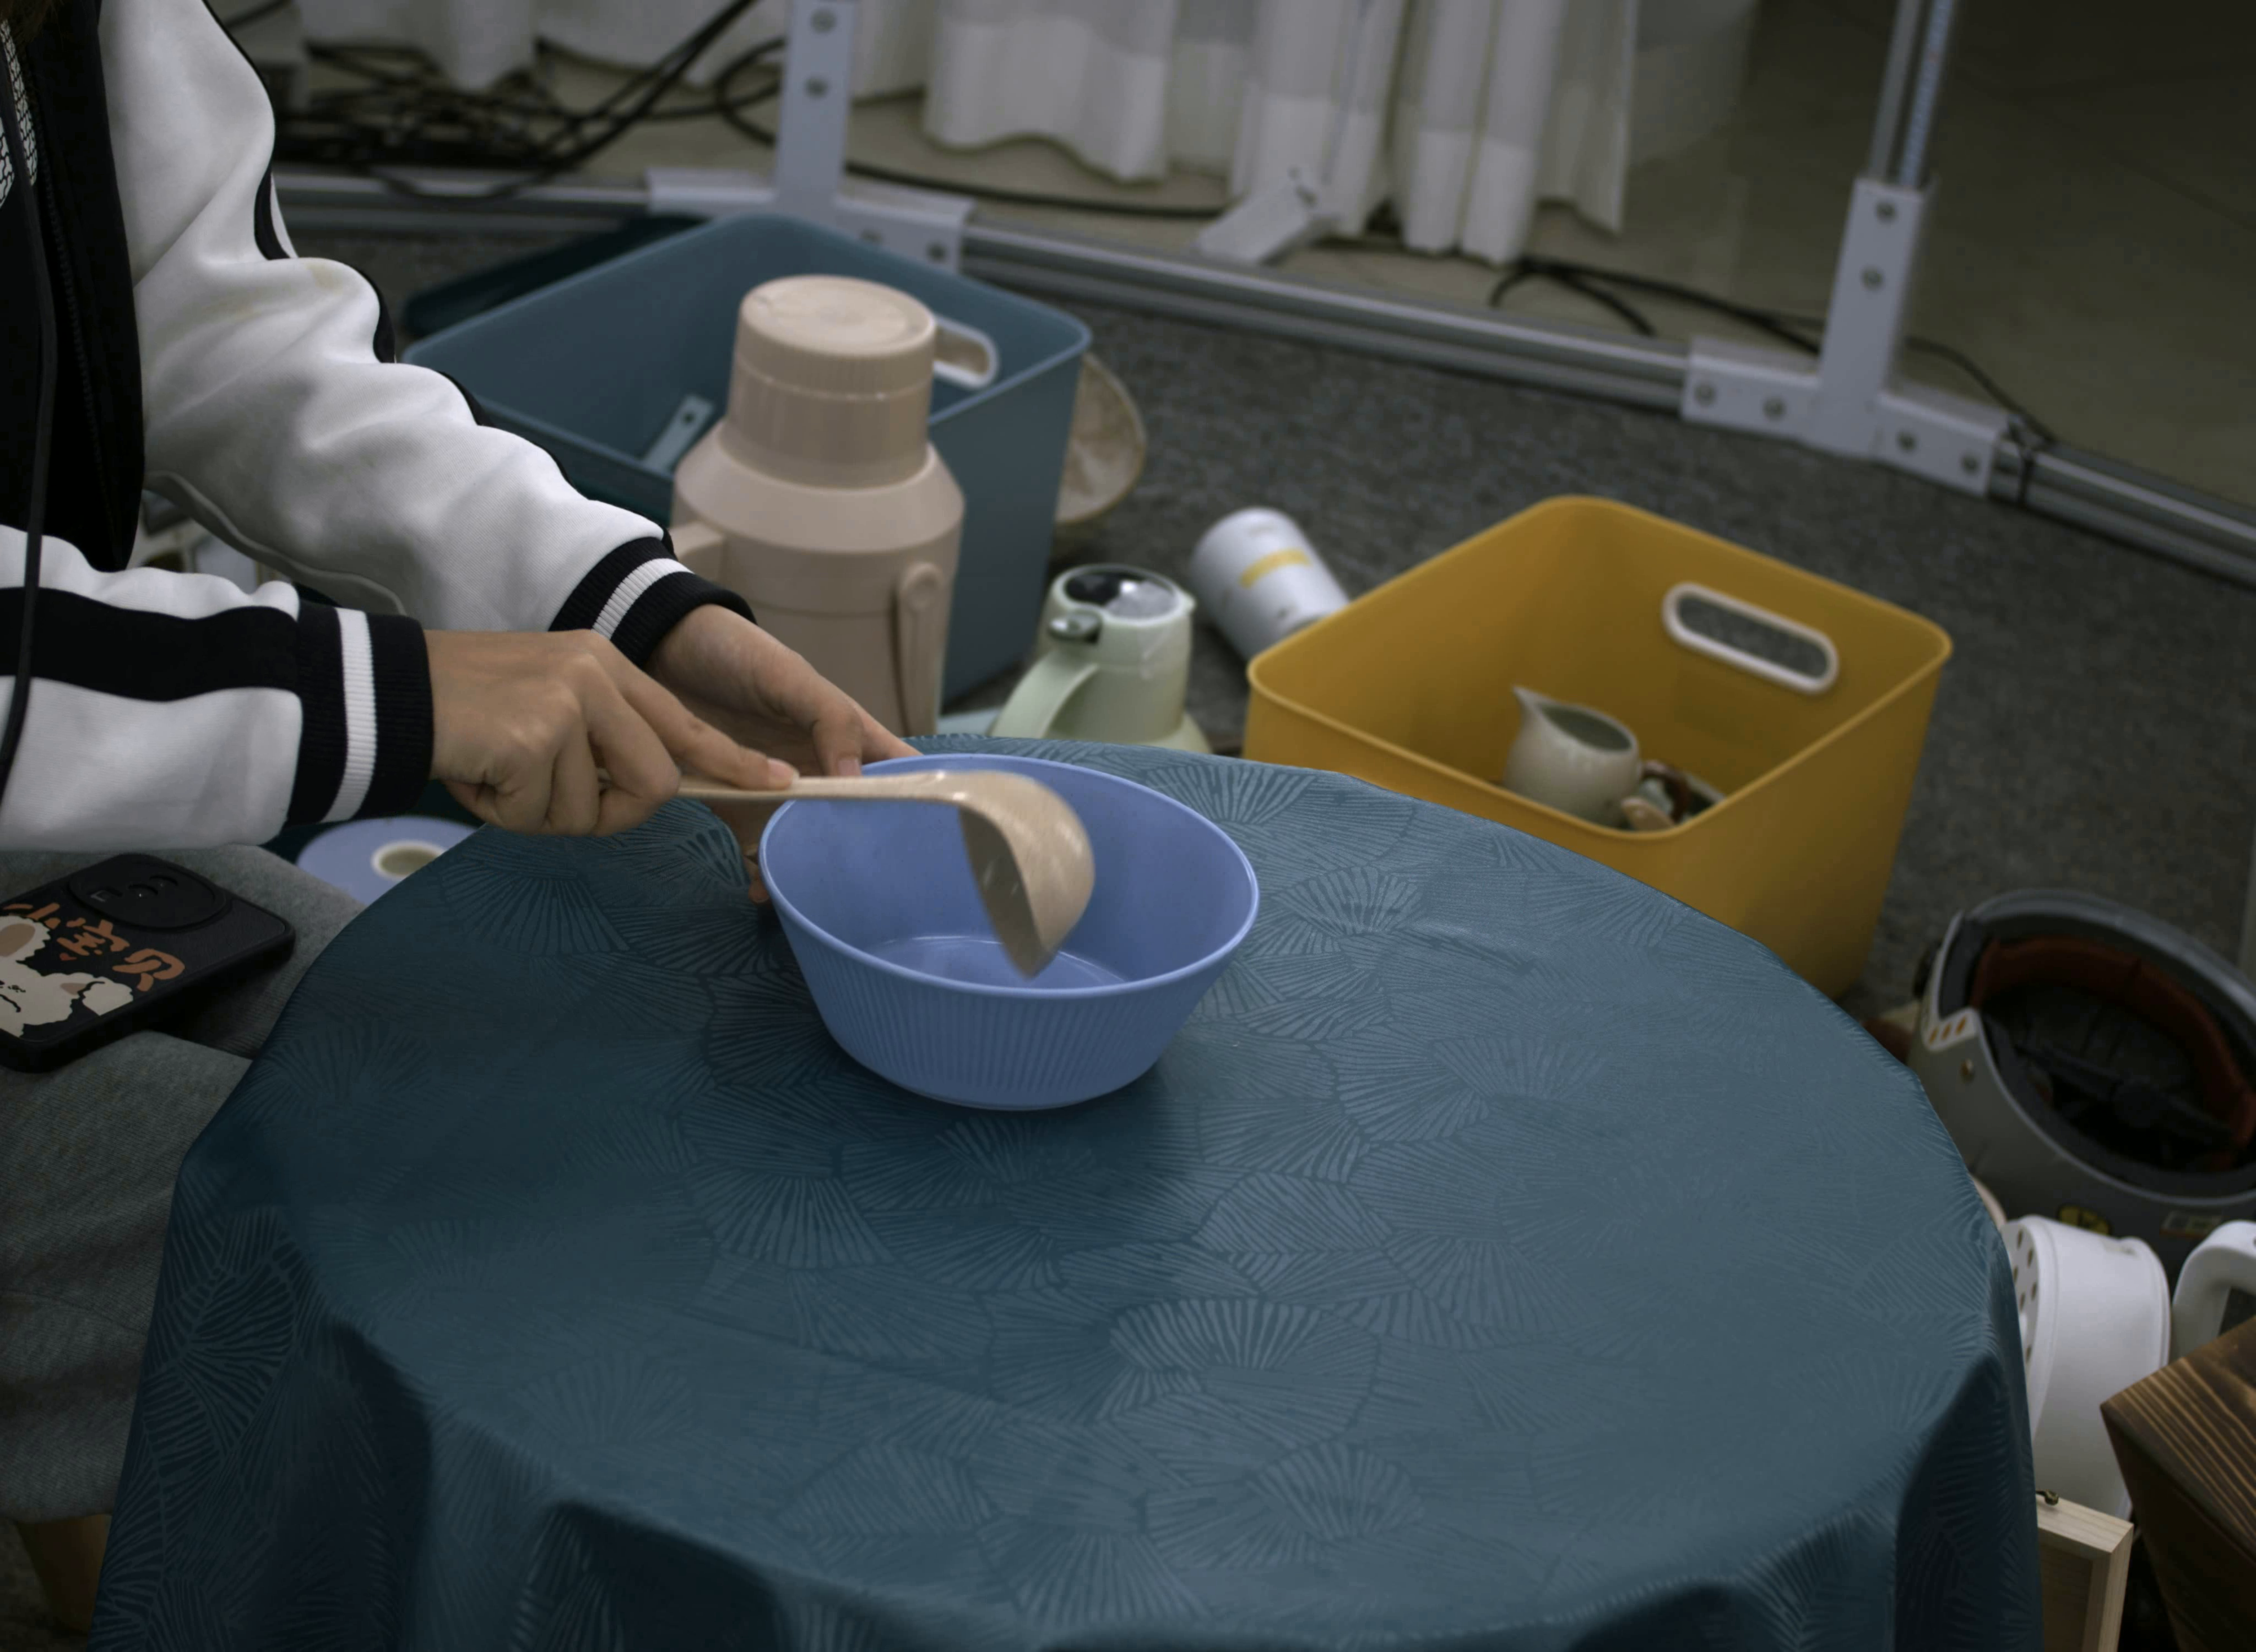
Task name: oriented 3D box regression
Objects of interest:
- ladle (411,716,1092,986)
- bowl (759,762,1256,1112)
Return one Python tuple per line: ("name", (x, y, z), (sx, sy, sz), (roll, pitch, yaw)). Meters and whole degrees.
("ladle", (-0.133, 0.011, 1.826), (0.252, 0.072, 0.073), (7, 23, -25))
("bowl", (-0.045, 0.045, 1.871), (0.175, 0.070, 0.177), (6, 26, -3))
